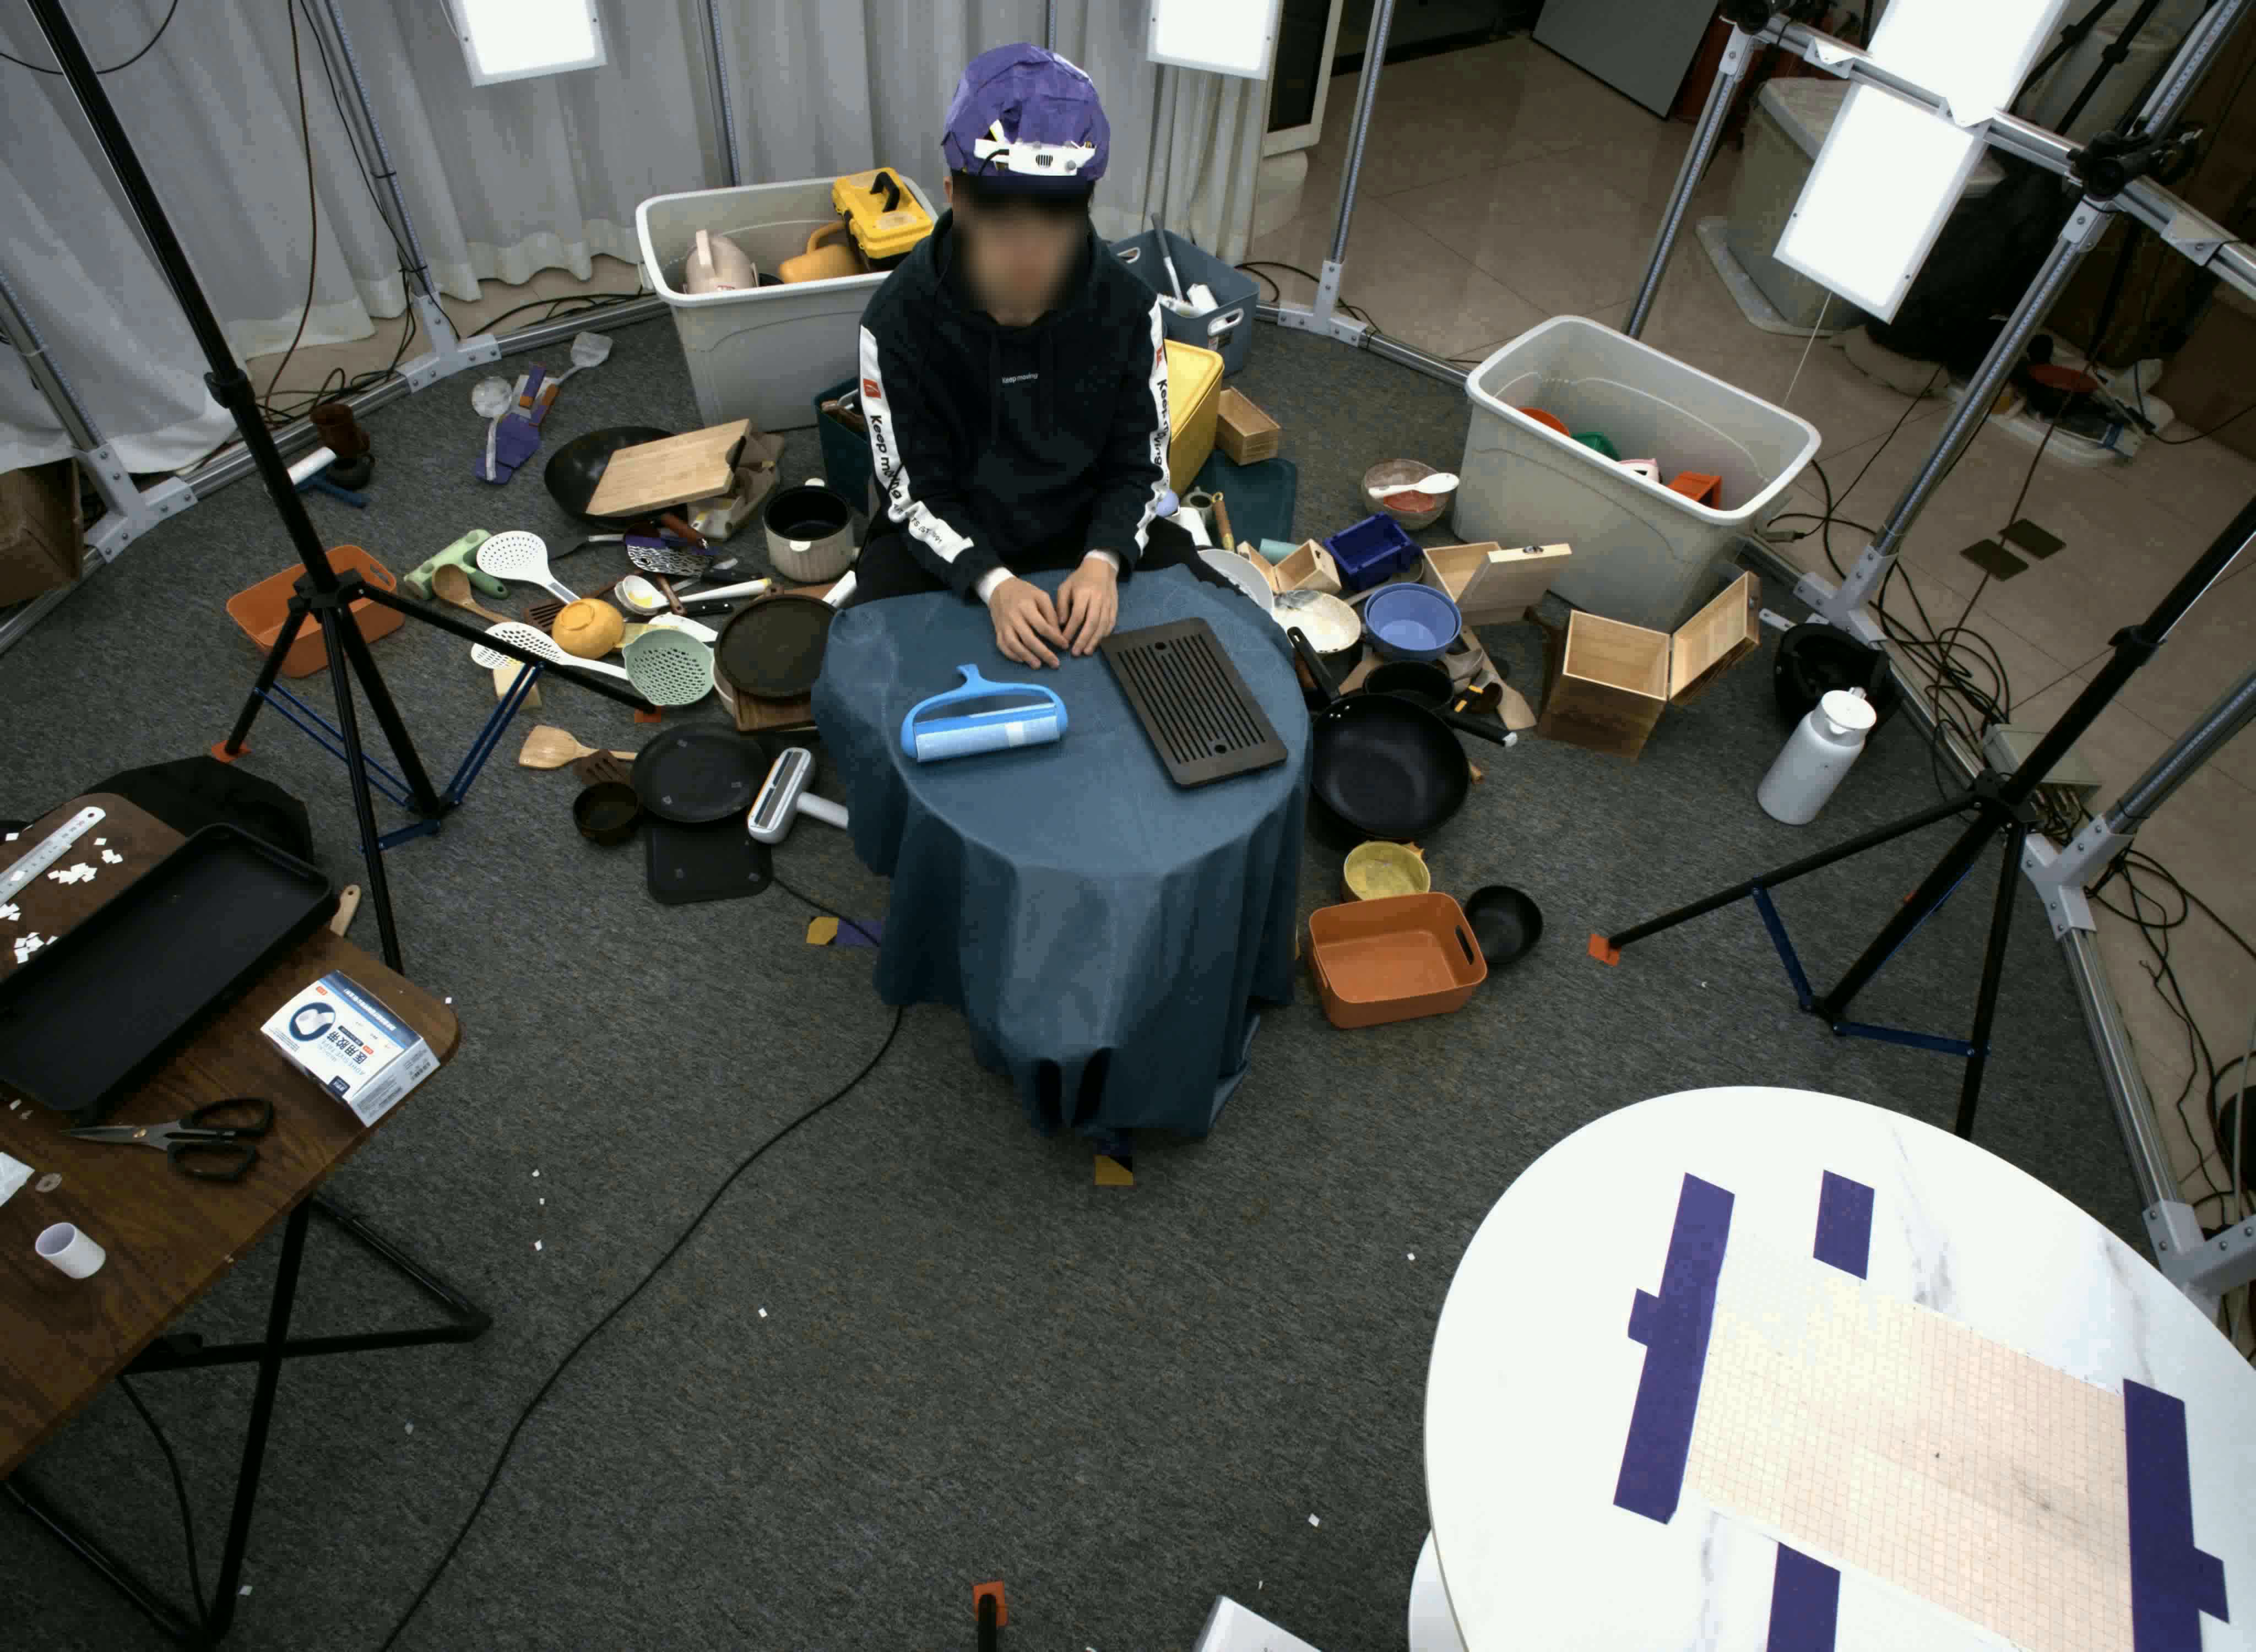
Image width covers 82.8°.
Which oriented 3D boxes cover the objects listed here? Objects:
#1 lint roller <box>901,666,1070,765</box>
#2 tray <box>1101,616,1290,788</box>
[{"bbox_3d":[-0.208,-0.172,1.766,0.229,0.066,0.184,-13,52,-12],"label":"lint roller"},{"bbox_3d":[0.091,-0.181,1.818,0.170,0.018,0.313,-15,52,-16],"label":"tray"}]
